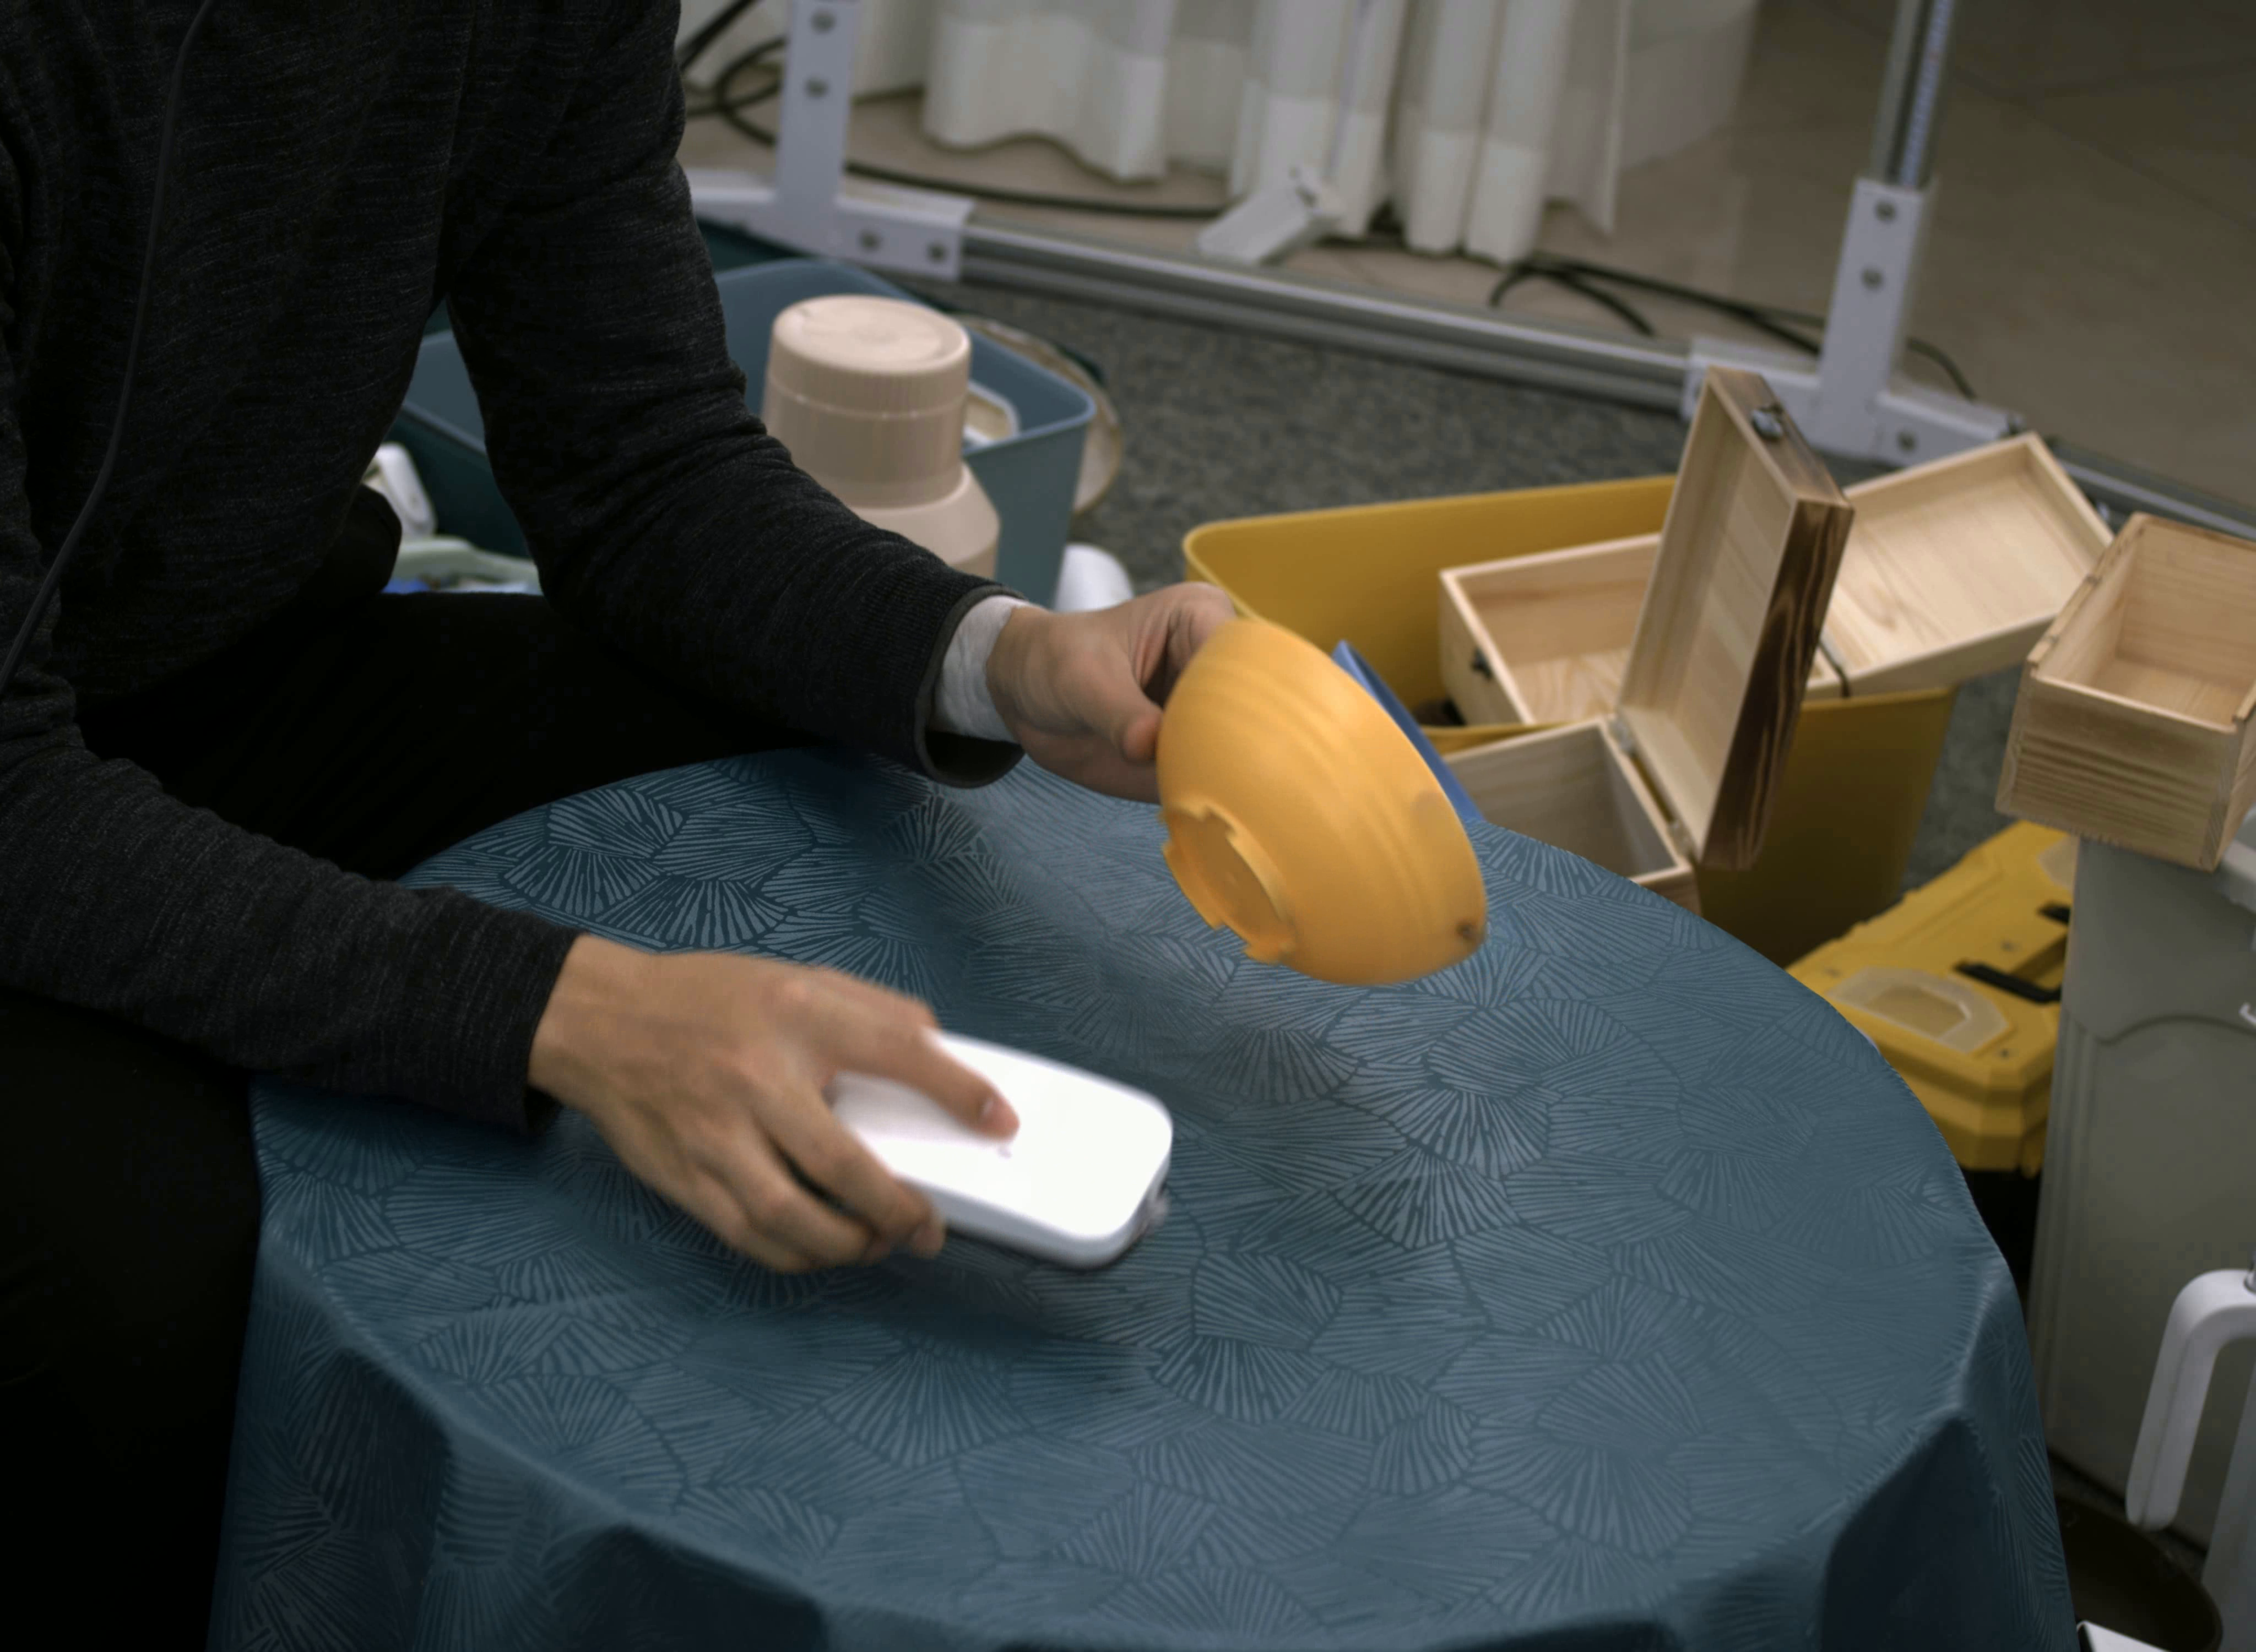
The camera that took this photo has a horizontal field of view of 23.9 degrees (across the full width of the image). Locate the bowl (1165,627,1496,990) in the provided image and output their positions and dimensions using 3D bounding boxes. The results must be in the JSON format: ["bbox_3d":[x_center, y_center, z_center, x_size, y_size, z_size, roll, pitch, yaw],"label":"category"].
[{"bbox_3d":[0.057,0.007,1.838,0.060,0.144,0.146,-39,46,-20],"label":"bowl"}]

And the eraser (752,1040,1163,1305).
[{"bbox_3d":[-0.055,0.109,1.723,0.132,0.034,0.063,18,46,20],"label":"eraser"}]
